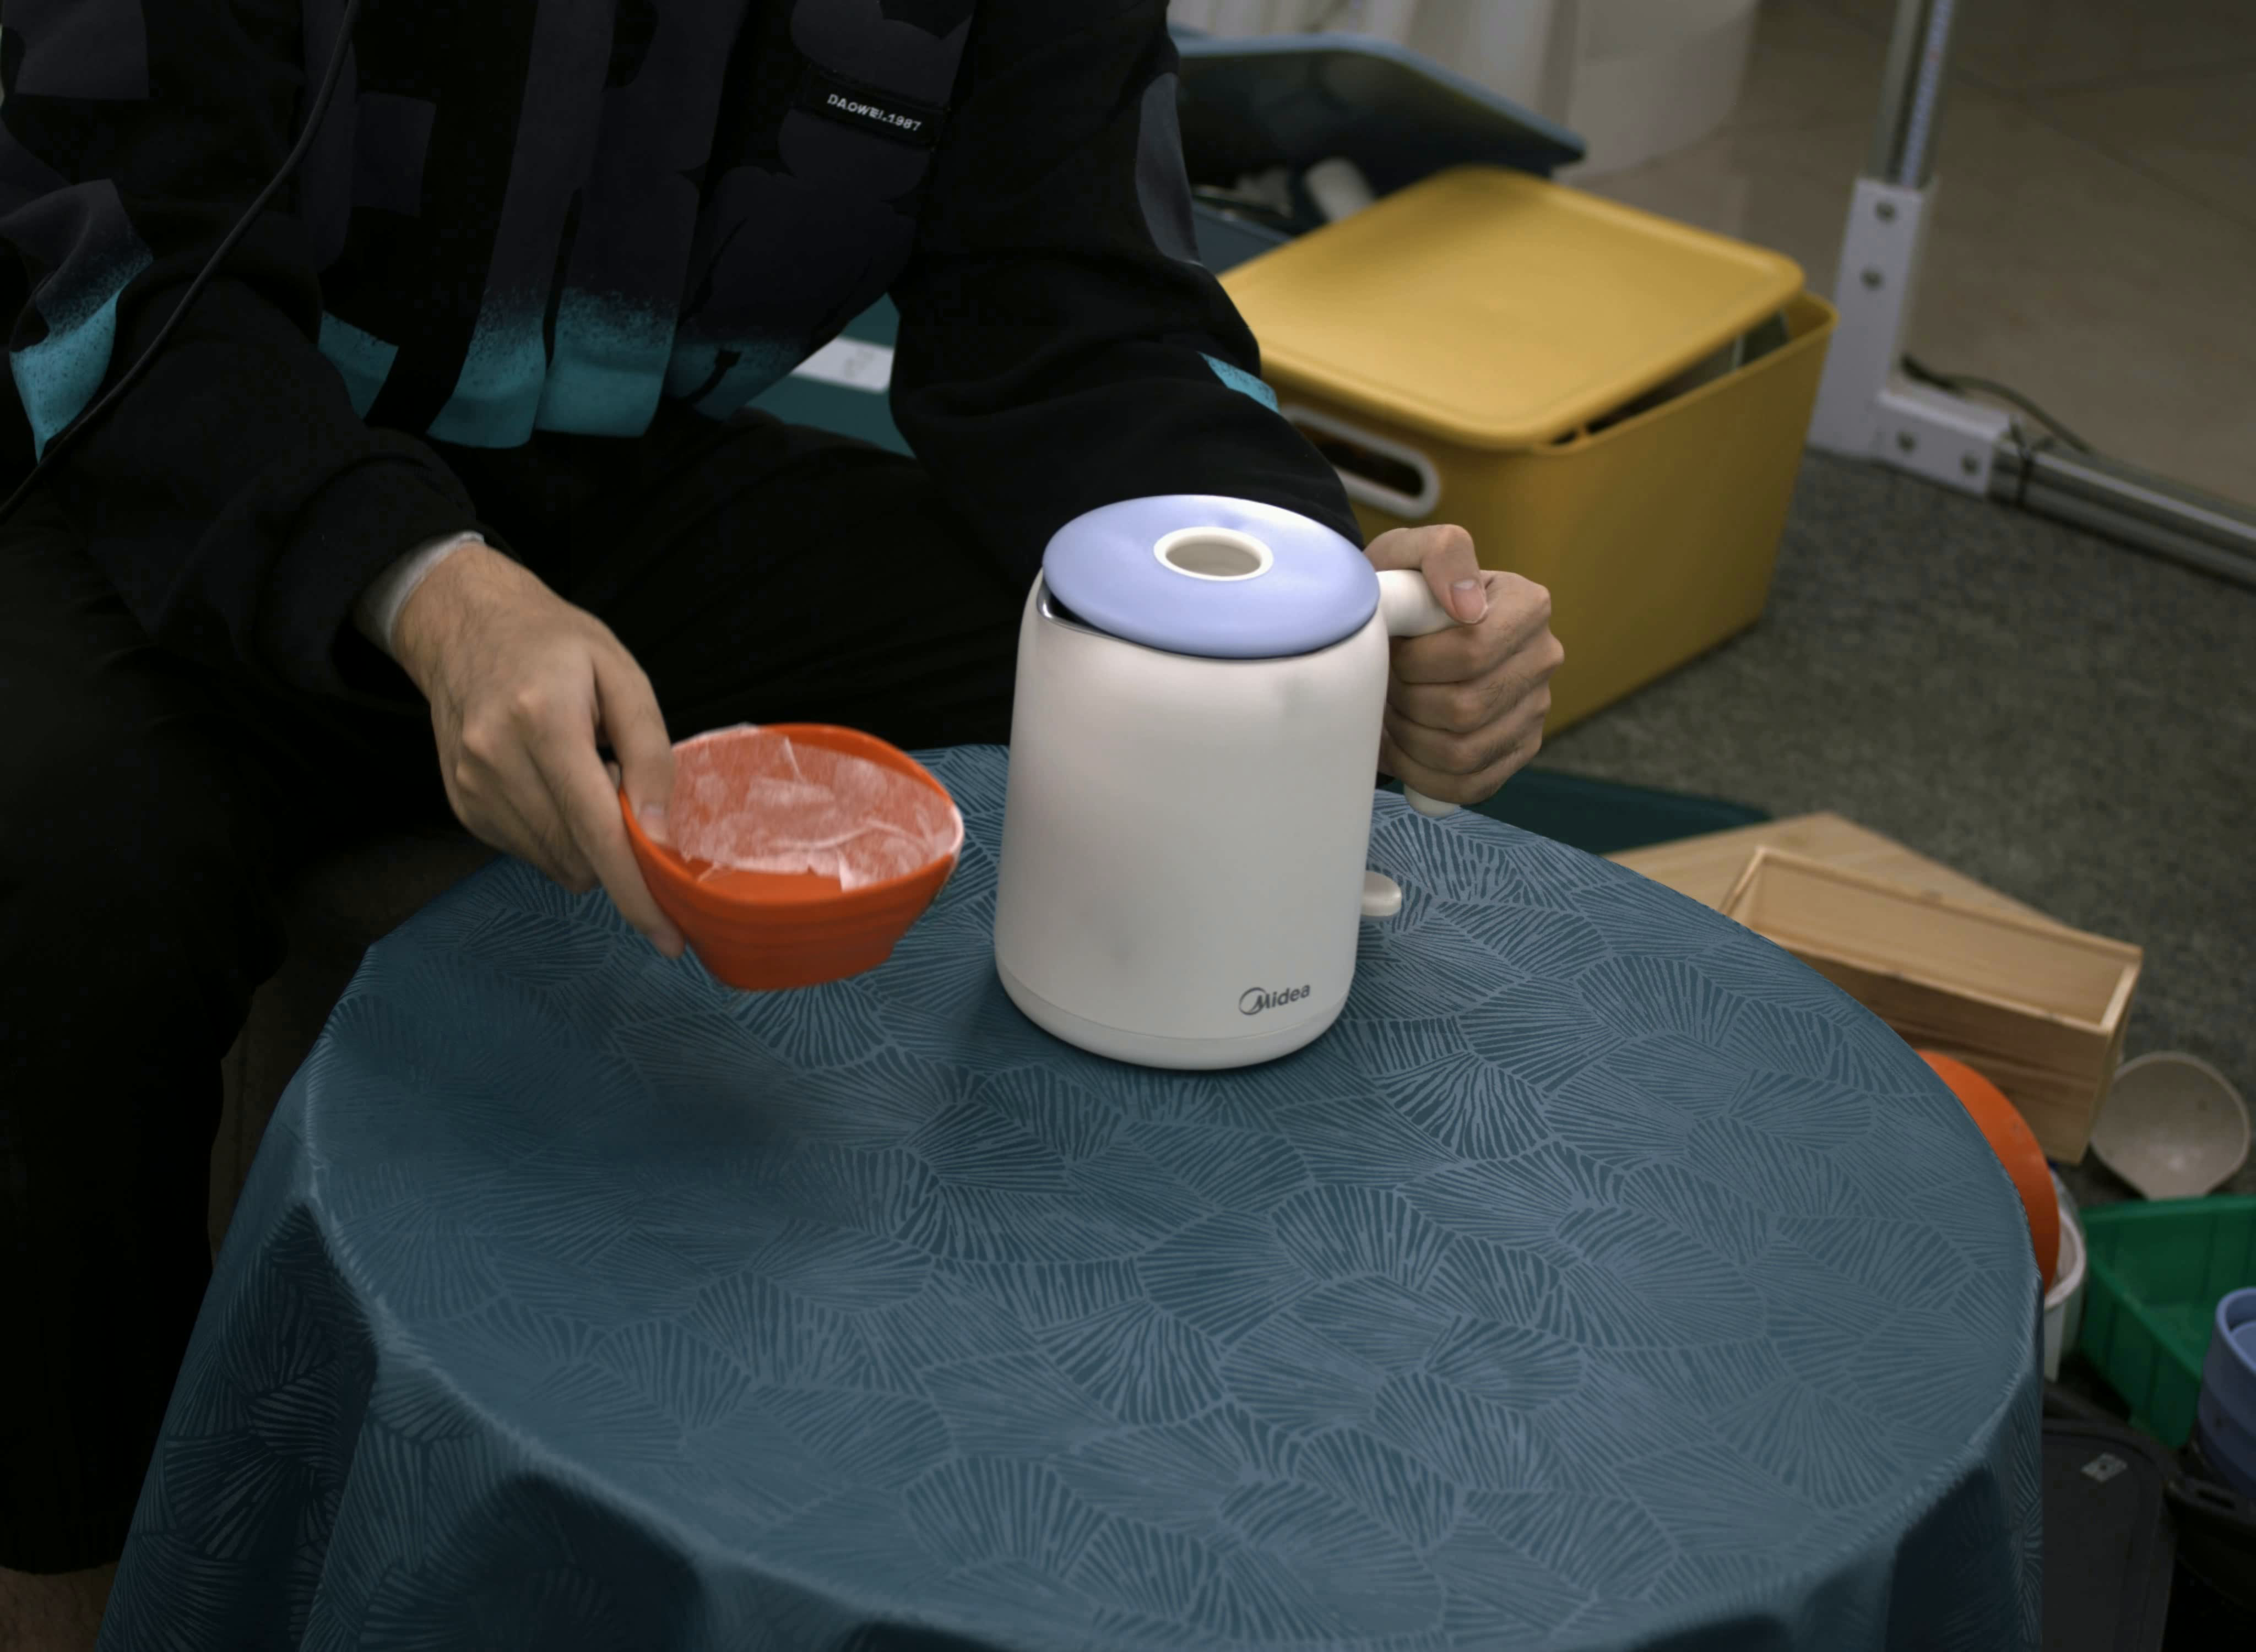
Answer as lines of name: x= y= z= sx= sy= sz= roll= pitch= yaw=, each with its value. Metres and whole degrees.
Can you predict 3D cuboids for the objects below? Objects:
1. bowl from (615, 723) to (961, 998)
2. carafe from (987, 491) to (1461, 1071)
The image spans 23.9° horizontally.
bowl: x=-0.115 y=0.016 z=1.792 sx=0.118 sy=0.051 sz=0.120 roll=3 pitch=33 yaw=-2
carafe: x=0.042 y=-0.021 z=1.900 sx=0.190 sy=0.182 sz=0.133 roll=-11 pitch=33 yaw=-32
